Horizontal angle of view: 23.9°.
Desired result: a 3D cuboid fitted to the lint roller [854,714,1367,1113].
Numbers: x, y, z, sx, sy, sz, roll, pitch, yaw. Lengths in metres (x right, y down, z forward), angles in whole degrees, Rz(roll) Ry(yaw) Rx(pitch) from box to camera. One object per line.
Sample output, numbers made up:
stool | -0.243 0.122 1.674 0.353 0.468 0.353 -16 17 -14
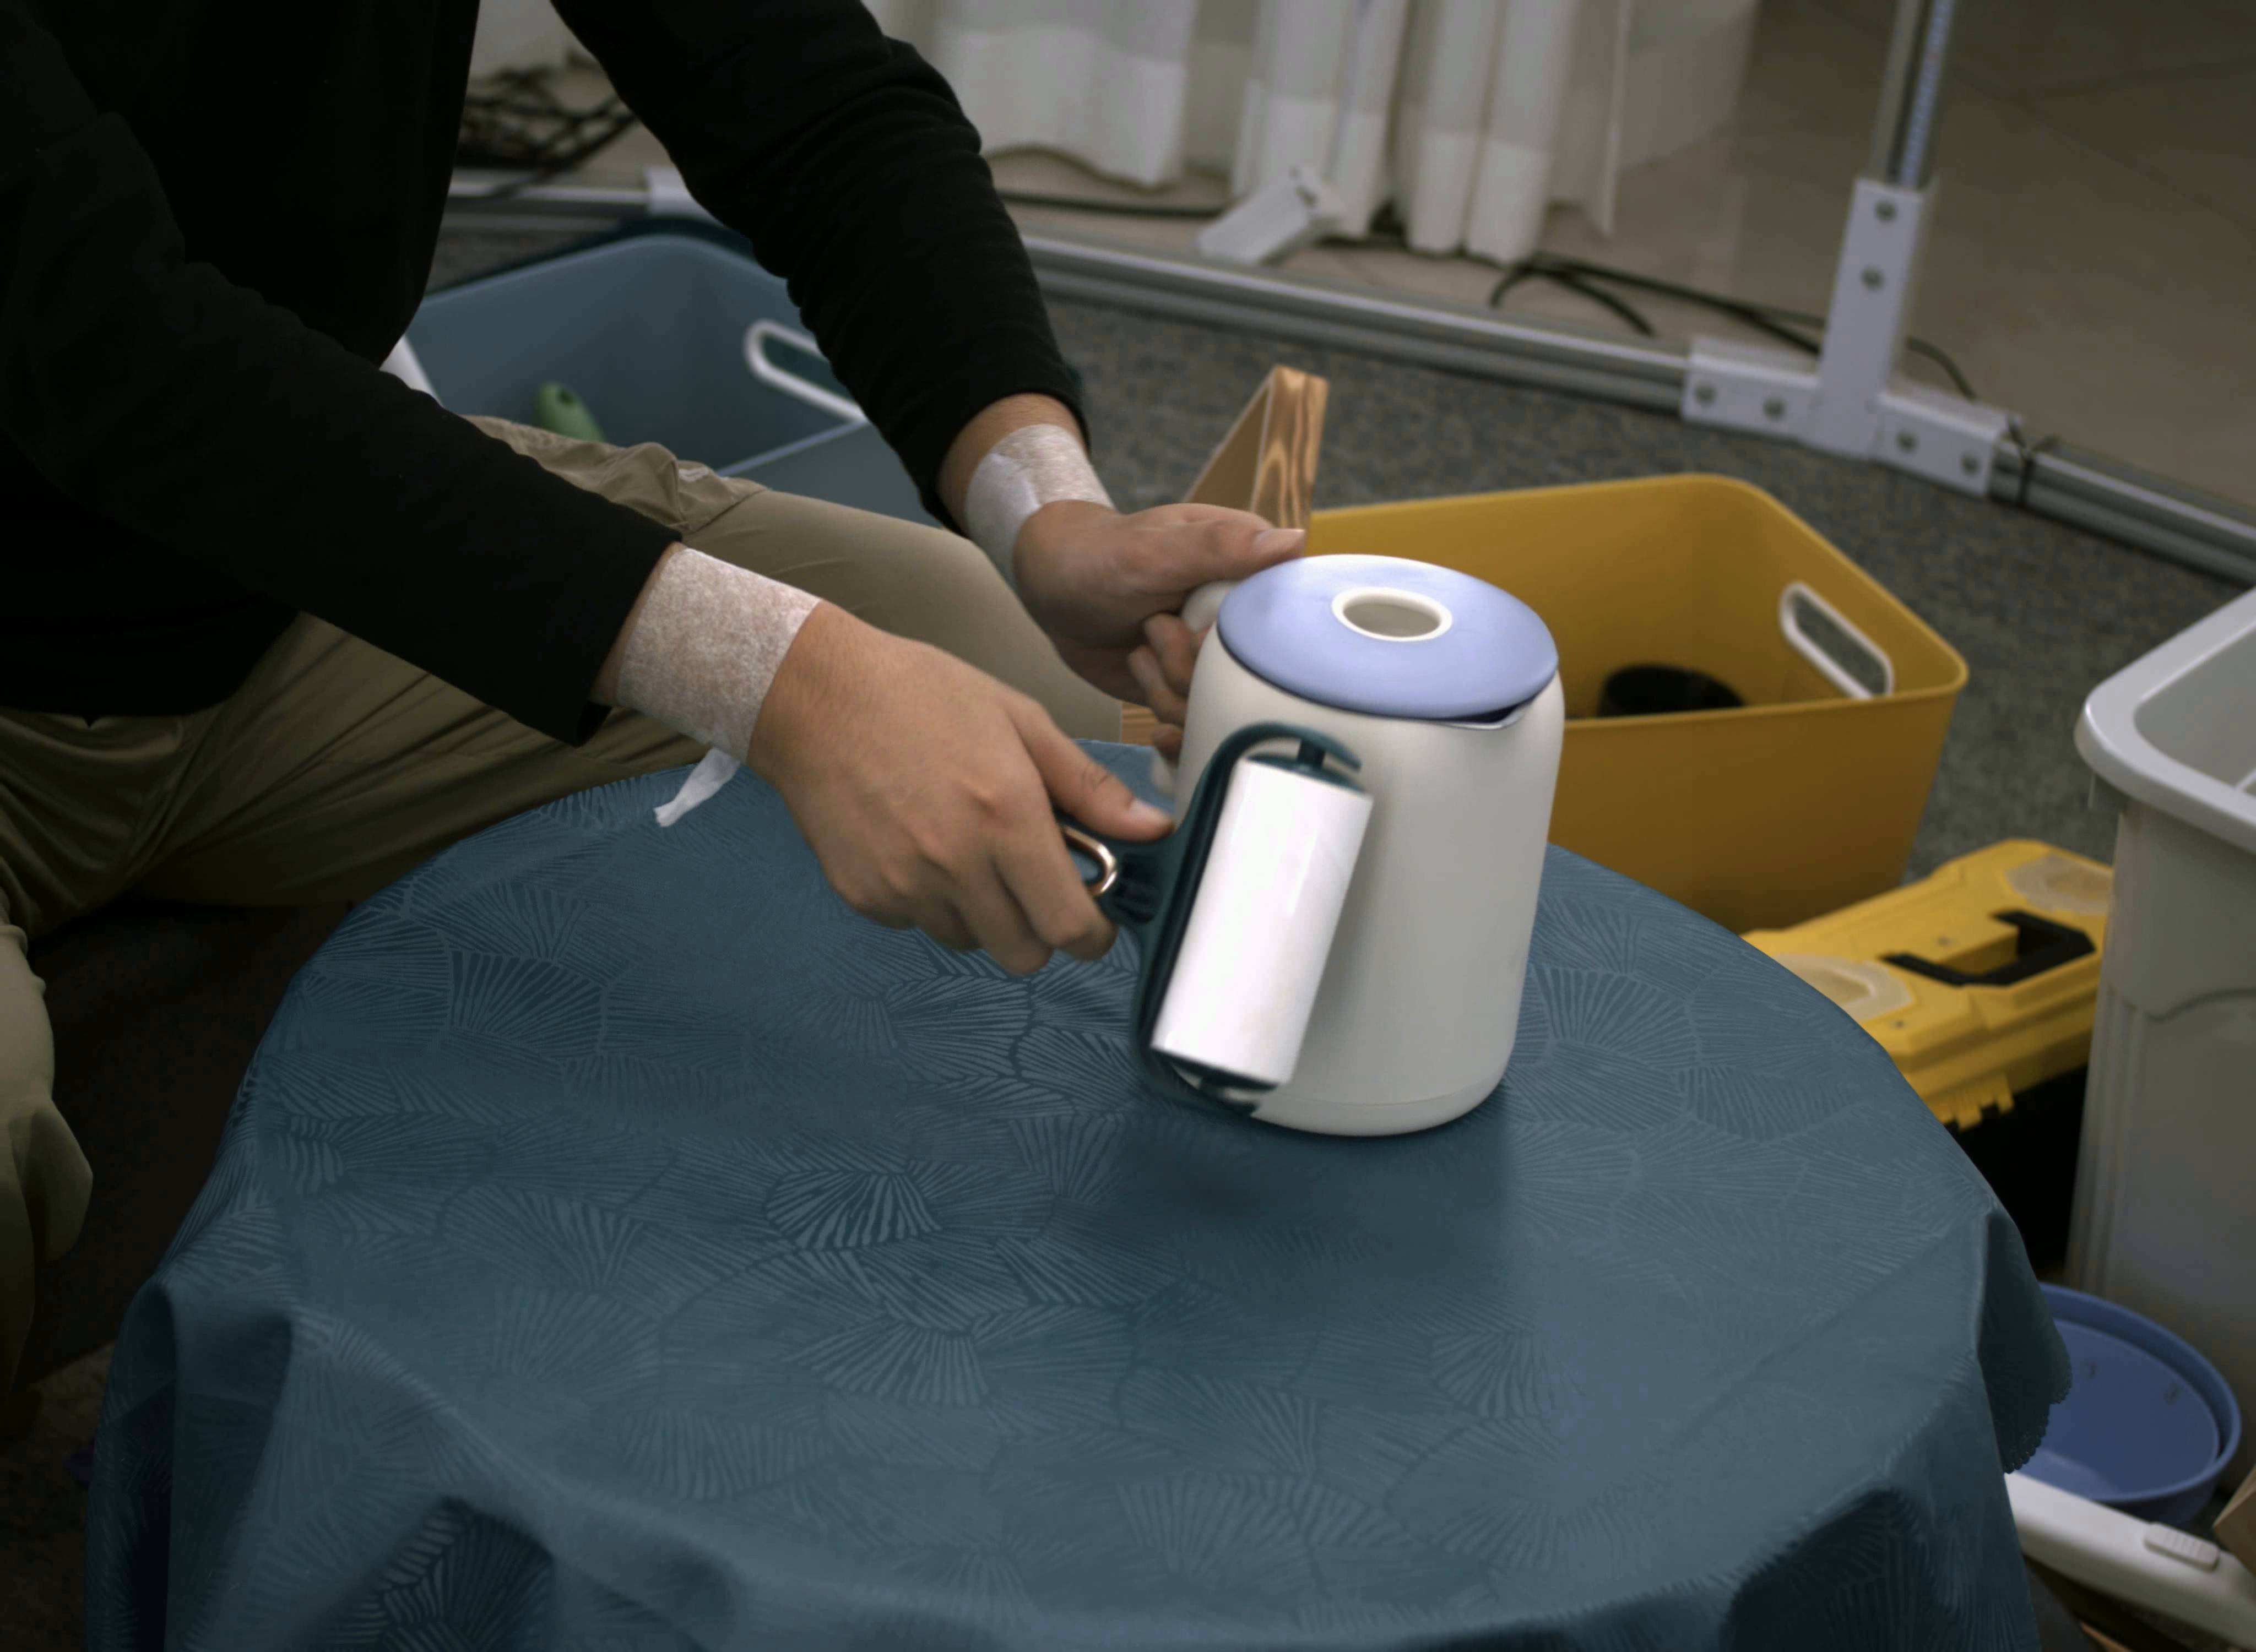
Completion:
lint roller | -0.017 0.012 1.773 0.180 0.134 0.048 15 0 19

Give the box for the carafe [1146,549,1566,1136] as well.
carafe | 0.068 -0.005 1.880 0.131 0.182 0.193 -11 30 -32
